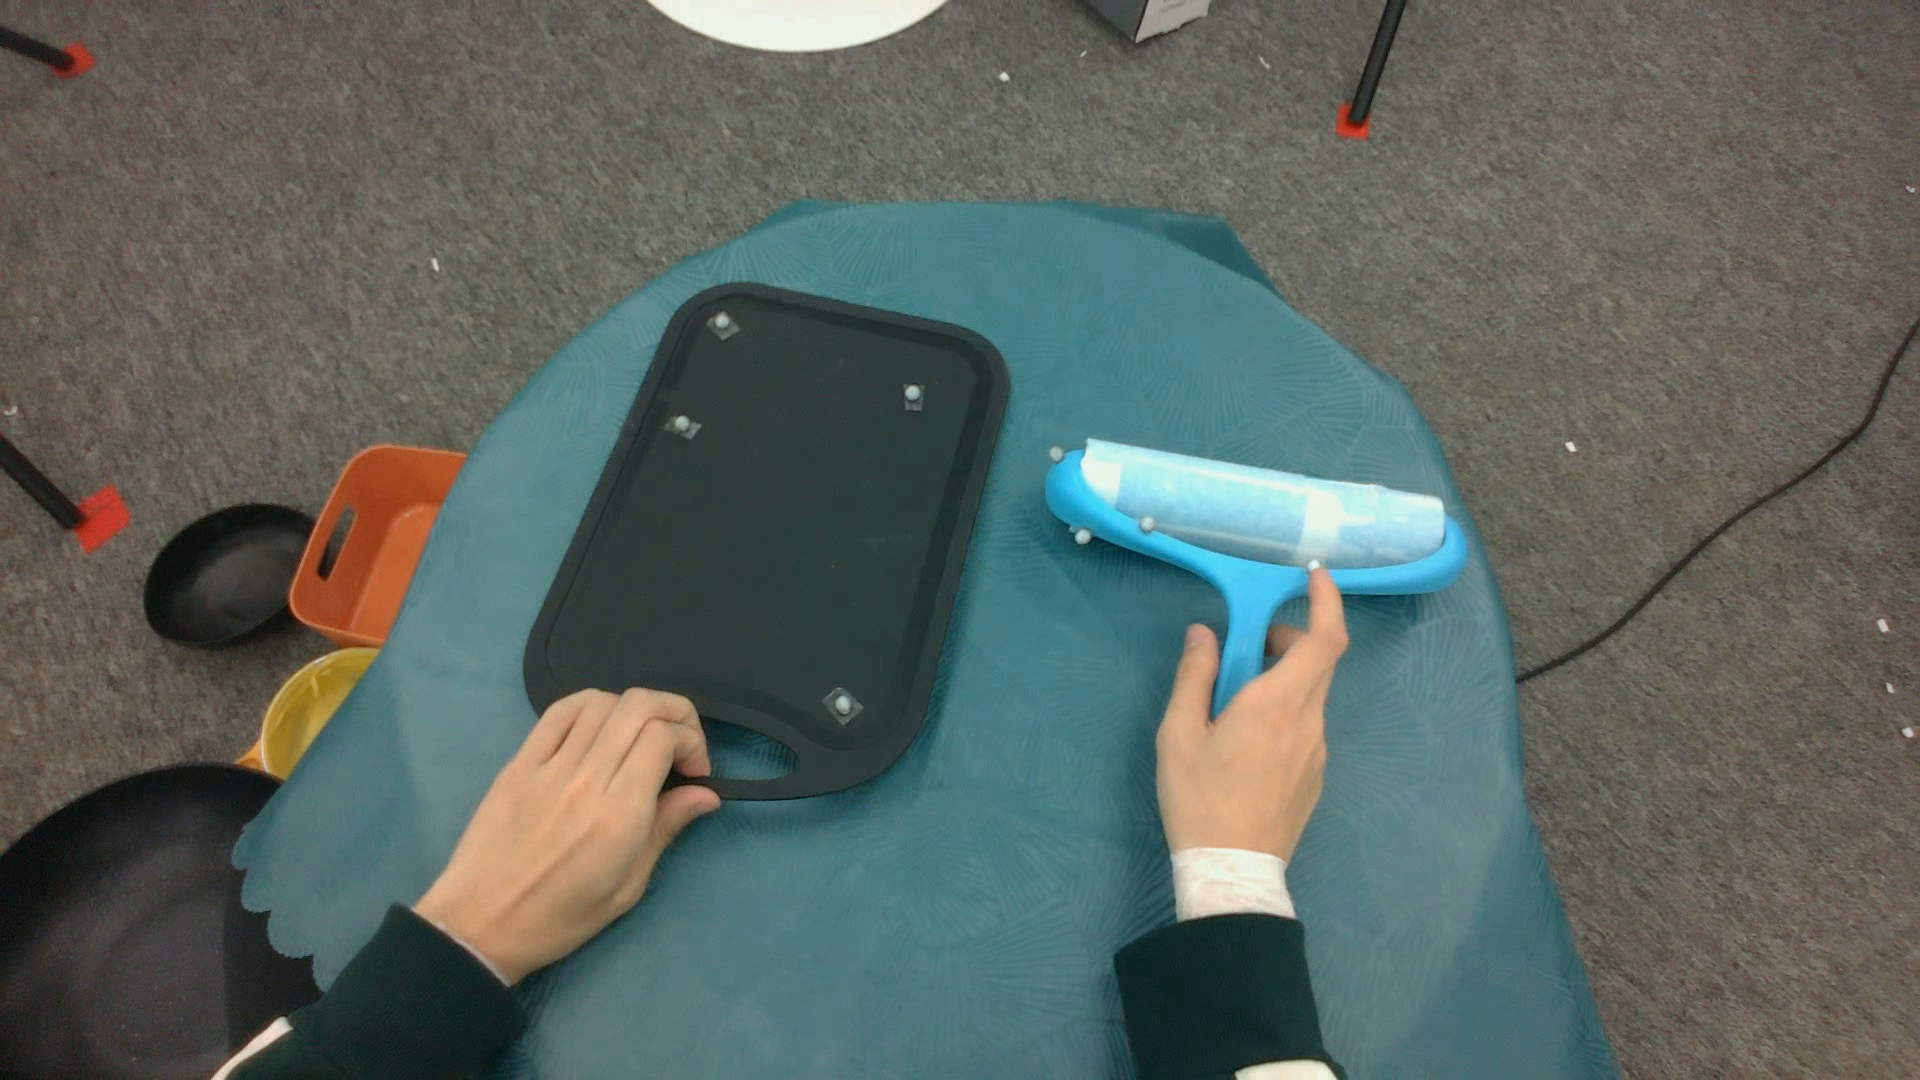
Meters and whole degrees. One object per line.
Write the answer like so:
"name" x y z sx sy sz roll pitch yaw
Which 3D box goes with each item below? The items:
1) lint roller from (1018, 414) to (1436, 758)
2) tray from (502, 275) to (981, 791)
"lint roller" 0.140 0.021 0.728 0.229 0.067 0.181 7 61 -1
"tray" -0.112 -0.017 0.751 0.211 0.010 0.327 10 58 4
